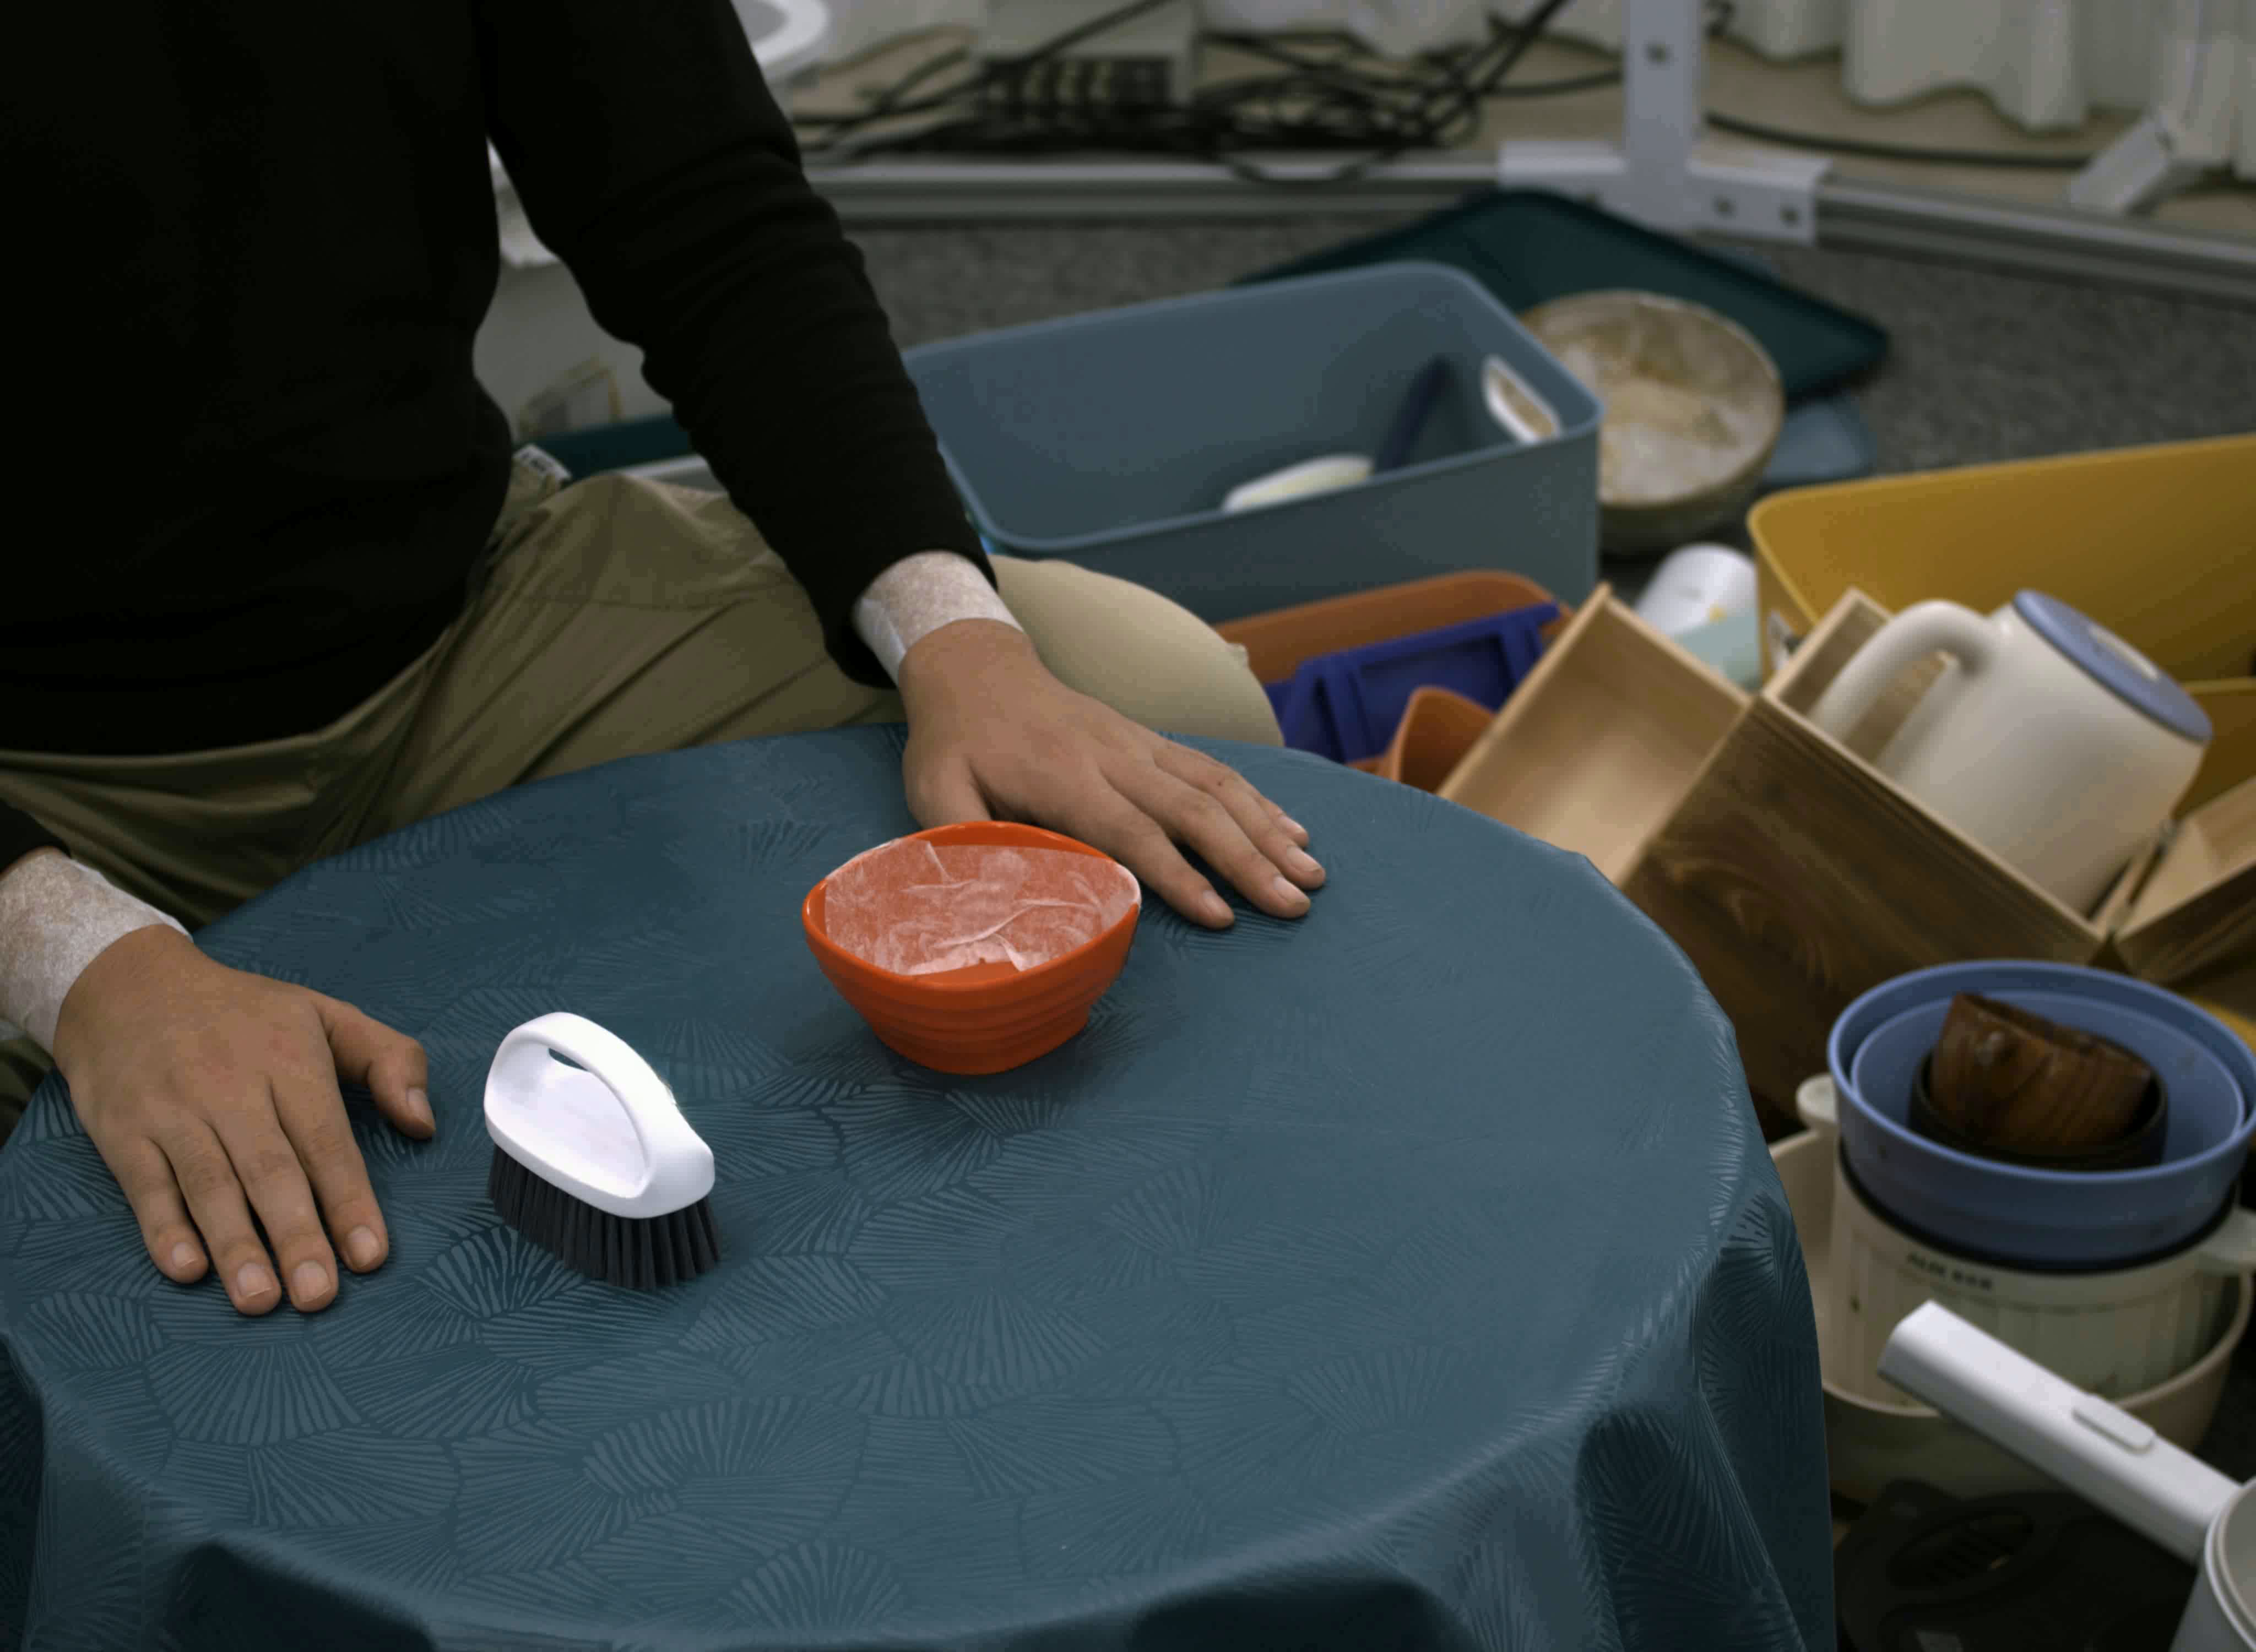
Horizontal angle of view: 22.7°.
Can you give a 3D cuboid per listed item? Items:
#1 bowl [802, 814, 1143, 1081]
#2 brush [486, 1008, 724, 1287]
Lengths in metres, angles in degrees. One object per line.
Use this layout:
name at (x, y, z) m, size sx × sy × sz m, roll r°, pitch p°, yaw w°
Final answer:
bowl at (-0.053, 0.047, 1.955) m, size 0.118 × 0.051 × 0.121 m, roll -2°, pitch 30°, yaw 1°
brush at (-0.175, 0.099, 1.843) m, size 0.051 × 0.072 × 0.099 m, roll -22°, pitch 32°, yaw -31°
